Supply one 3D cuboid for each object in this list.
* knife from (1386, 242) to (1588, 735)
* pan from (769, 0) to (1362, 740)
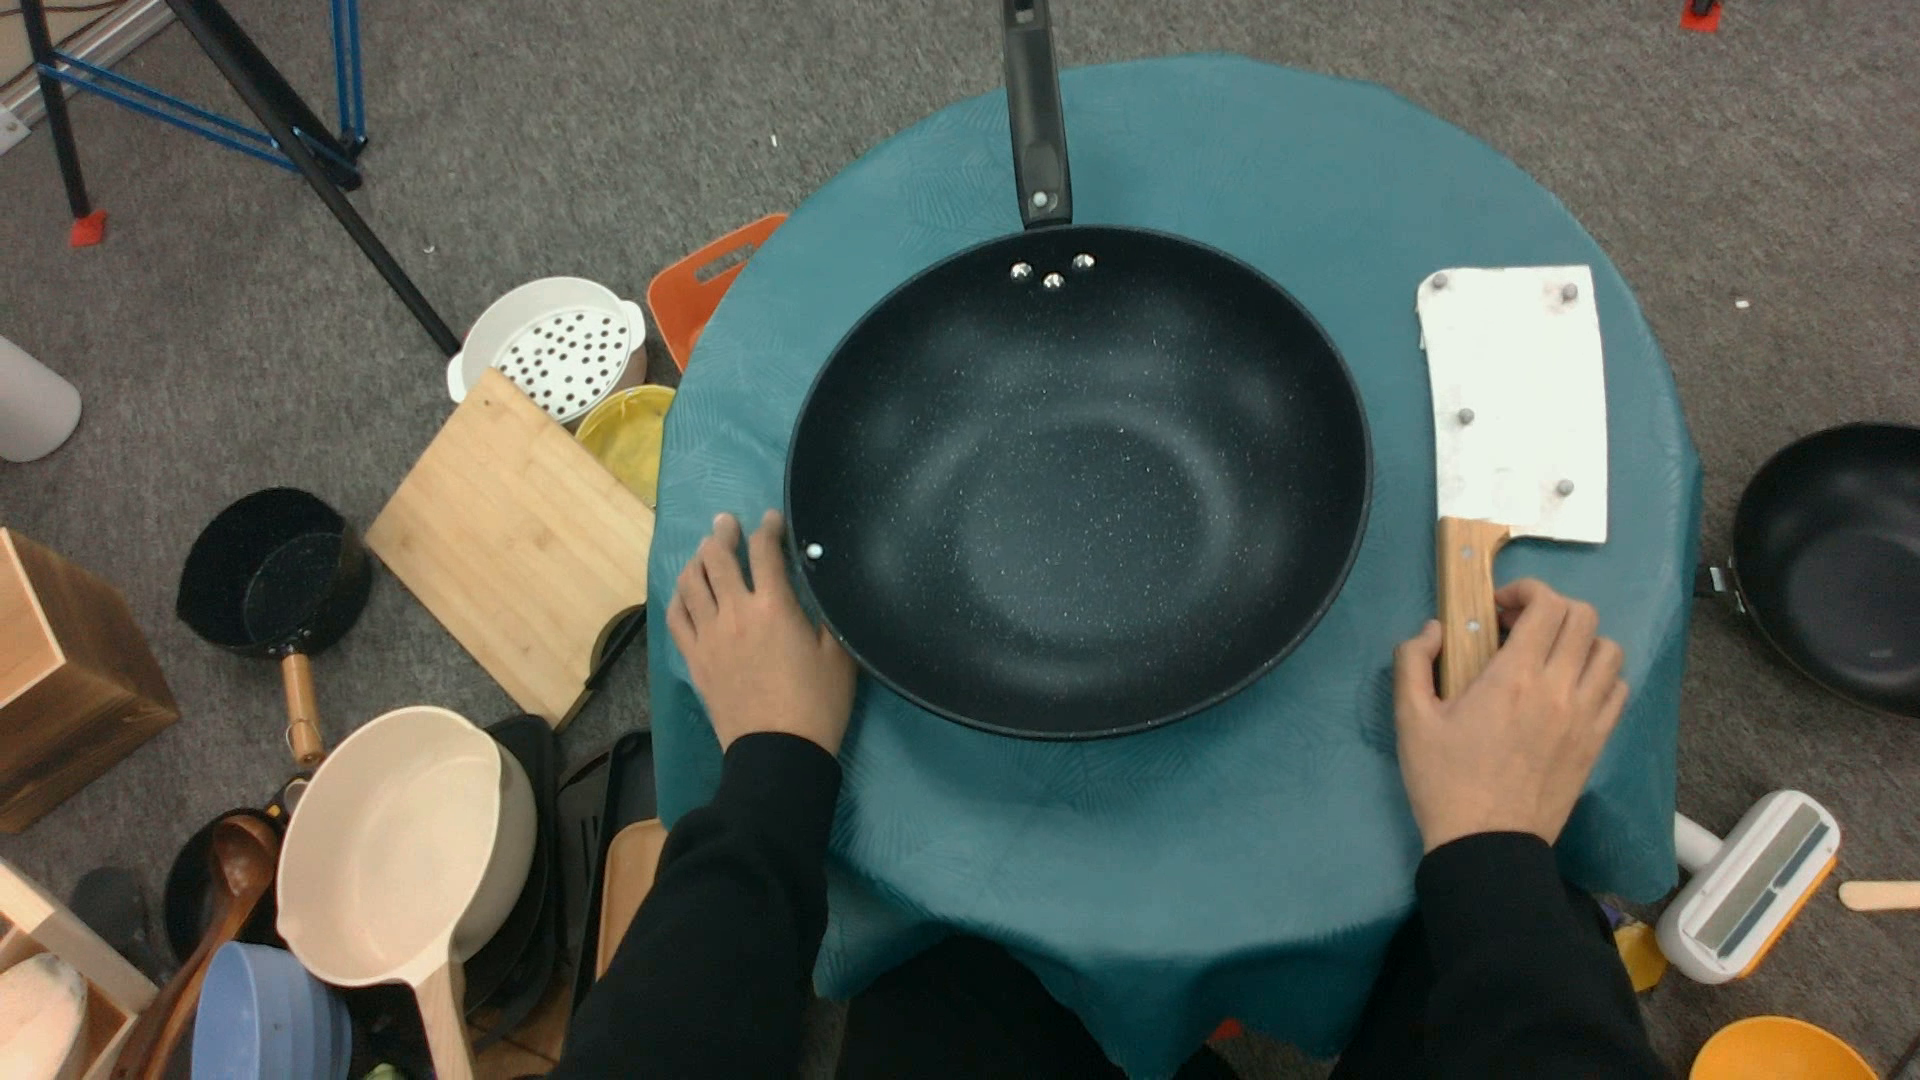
[{"bbox_3d":[0.287,-0.042,0.761,0.114,0.021,0.316,7,64,11],"label":"knife"},{"bbox_3d":[0.050,-0.109,0.782,0.310,0.111,0.478,-6,64,4],"label":"pan"}]
